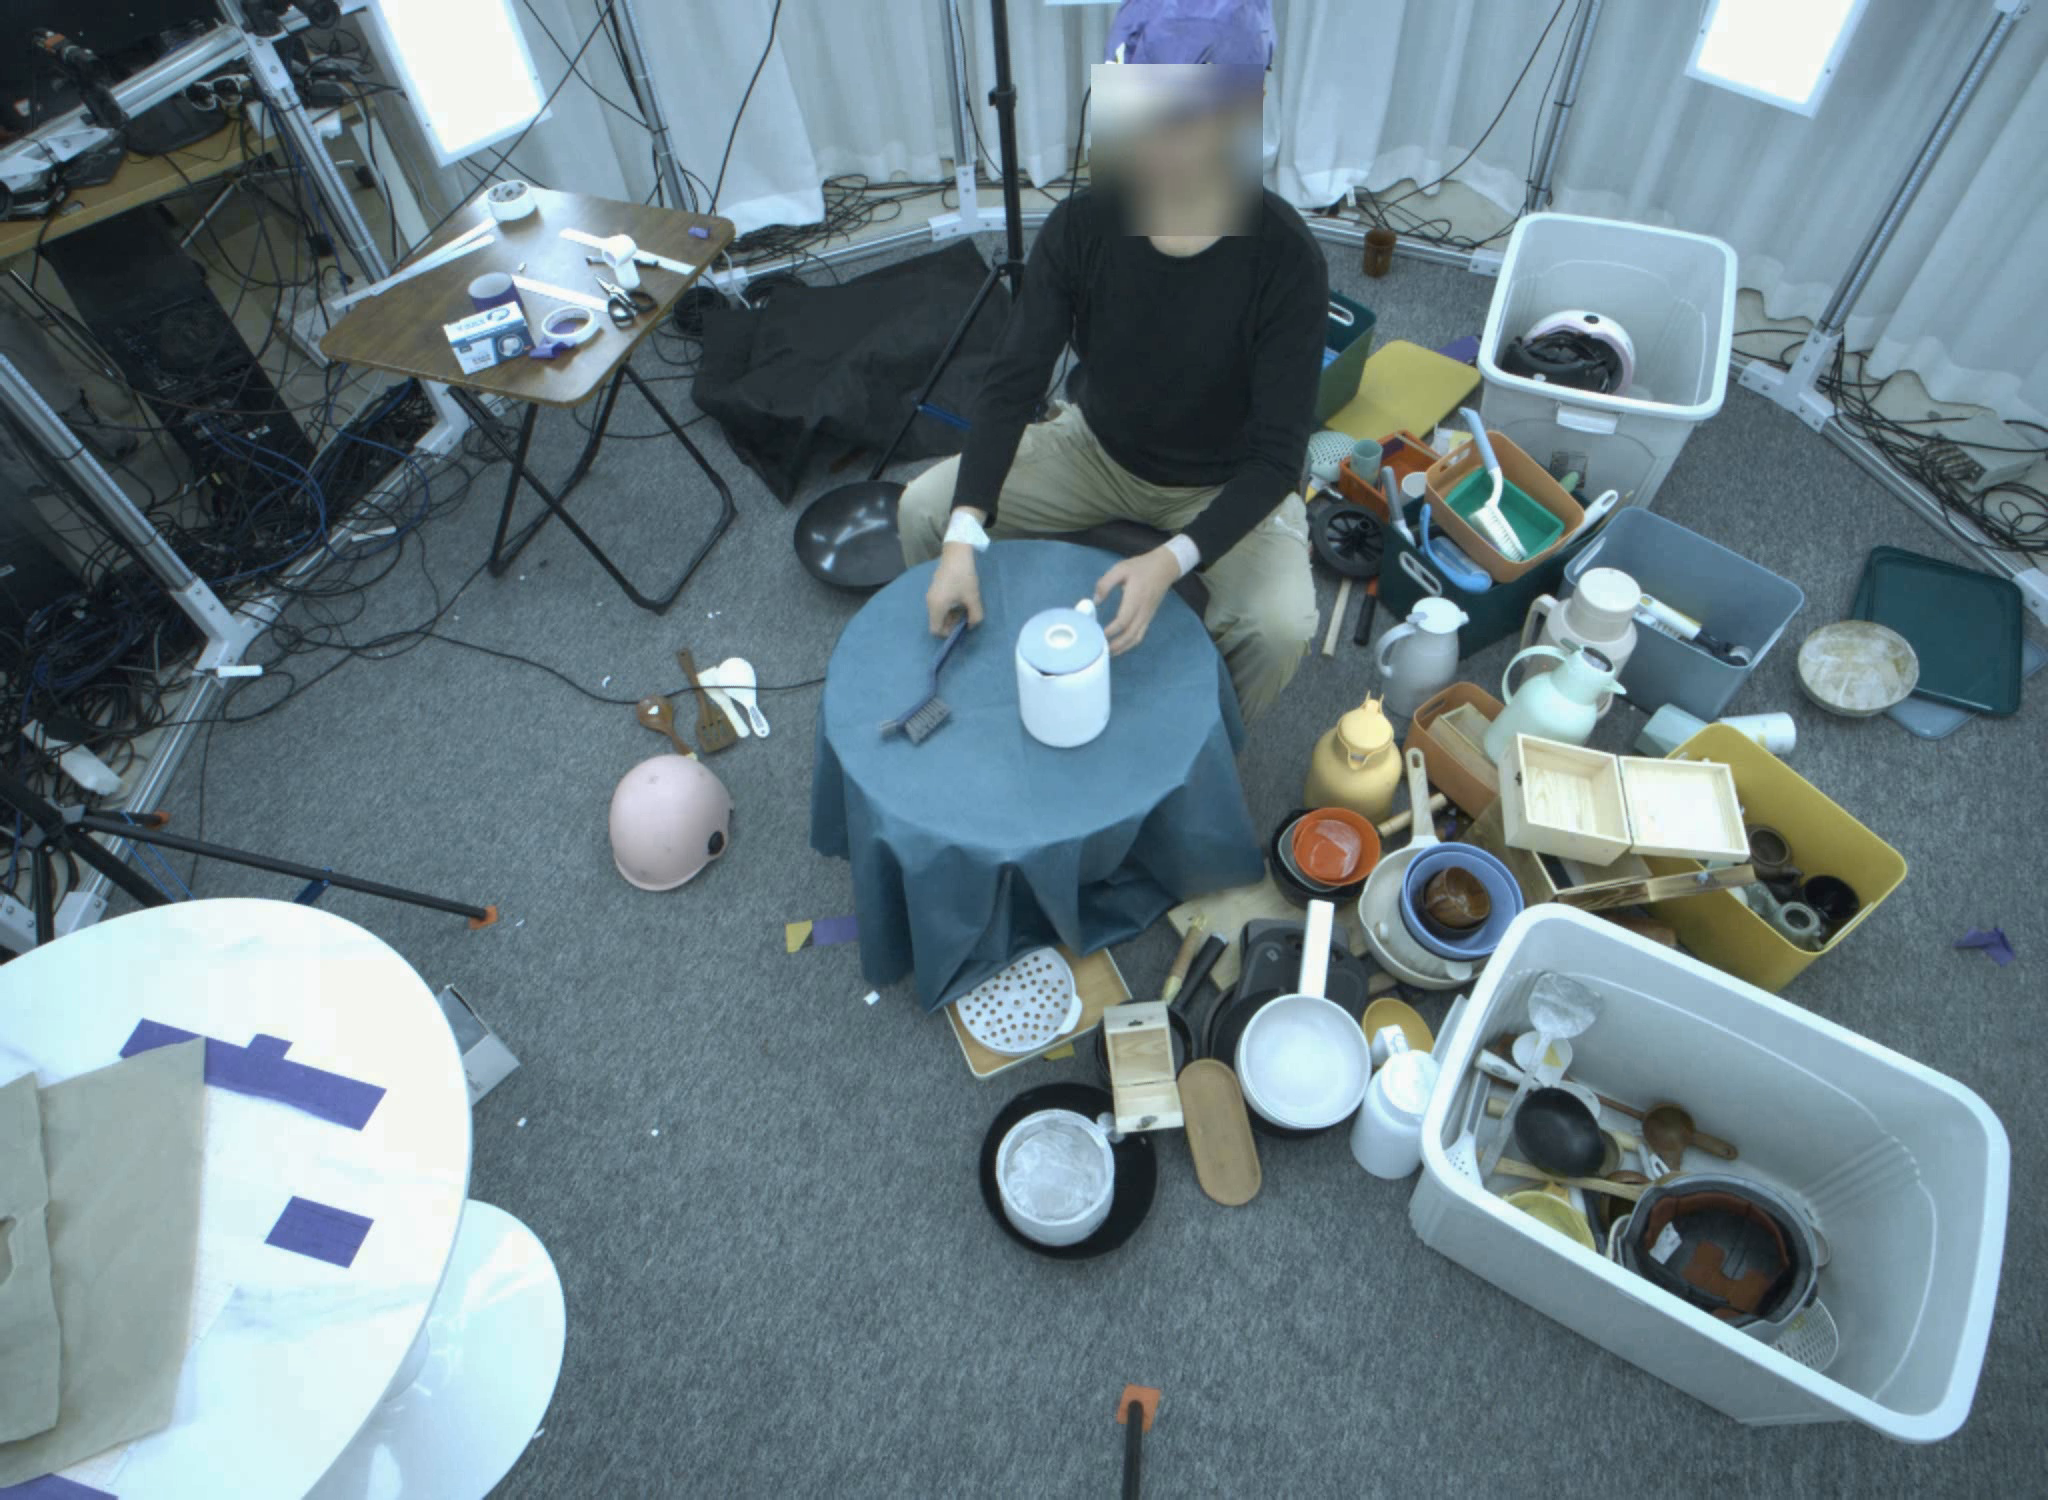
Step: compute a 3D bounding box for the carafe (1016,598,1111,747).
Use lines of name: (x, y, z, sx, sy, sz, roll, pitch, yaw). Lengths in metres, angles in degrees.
carafe: (0.065, -0.121, 1.765, 0.131, 0.184, 0.191, 15, 56, 13)

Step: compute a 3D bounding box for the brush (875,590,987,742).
brush: (-0.133, -0.132, 1.852, 0.095, 0.034, 0.272, 15, 64, 12)
